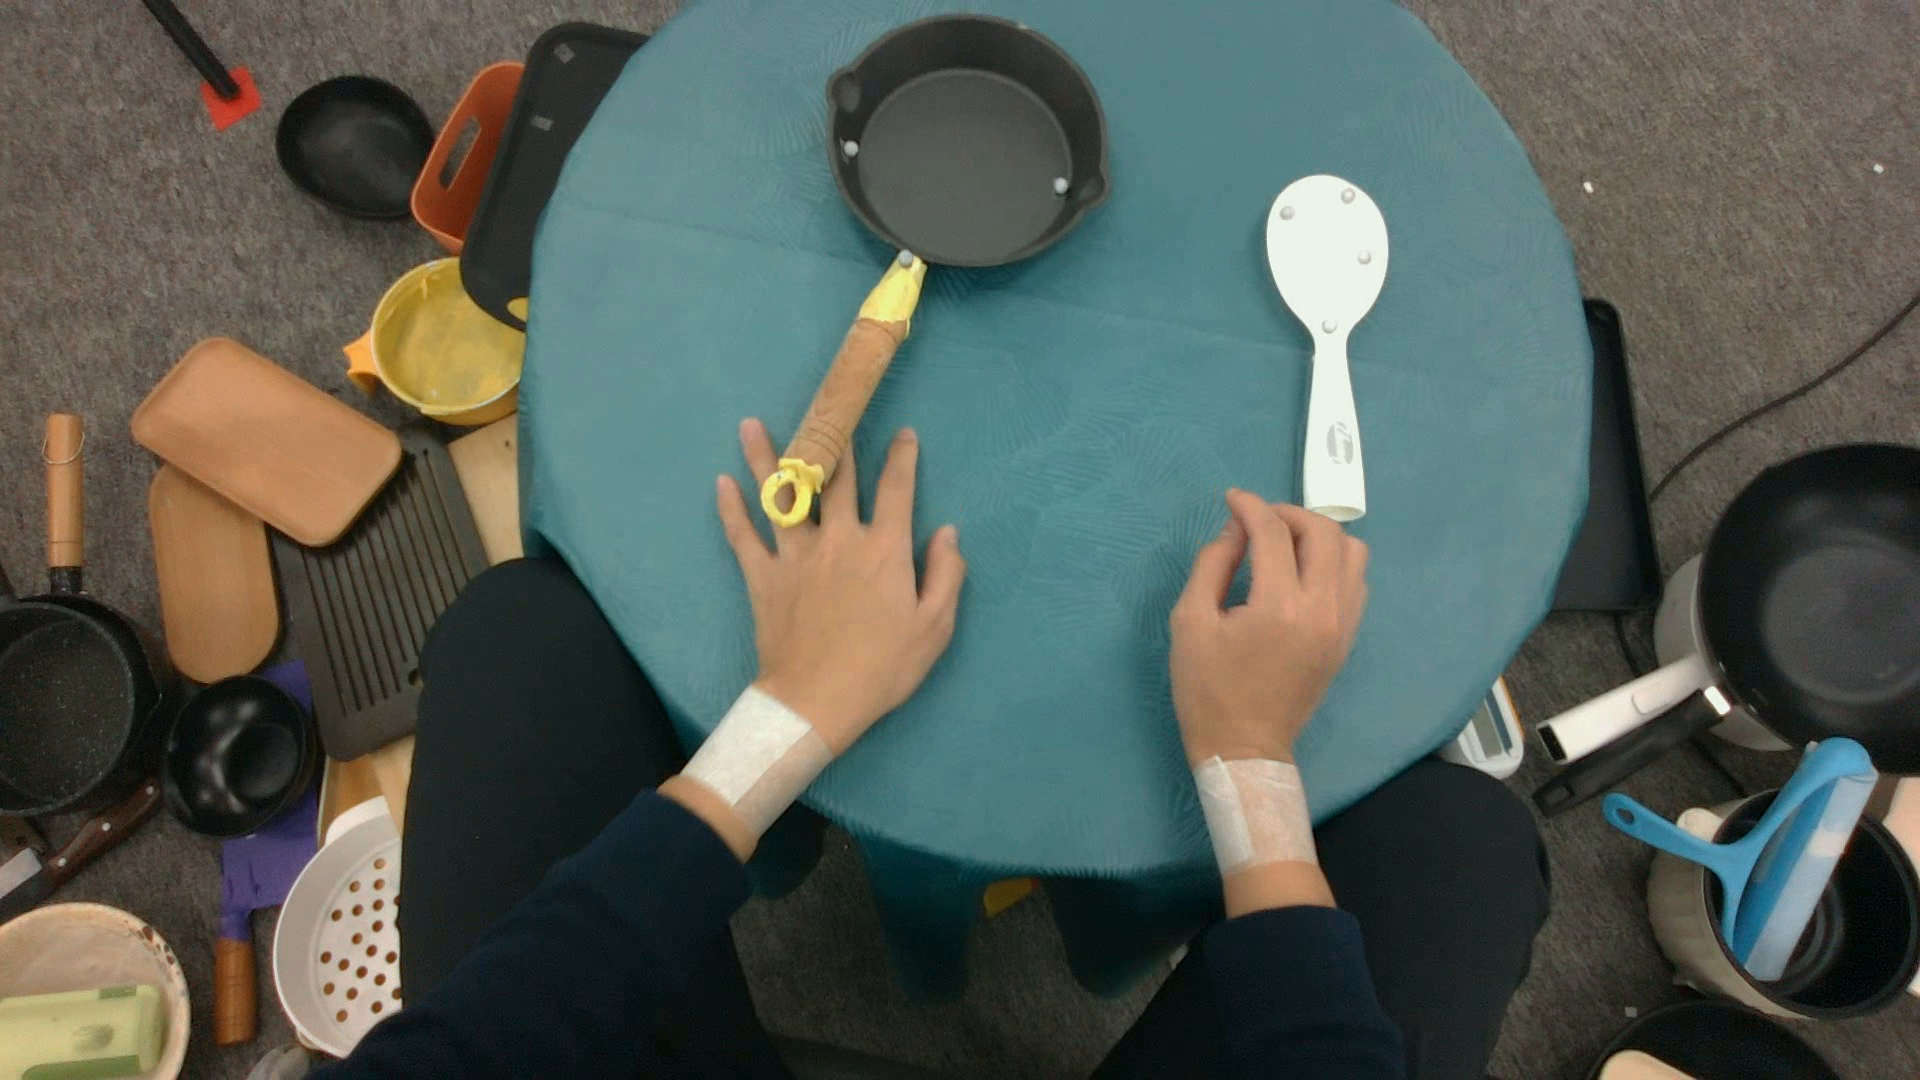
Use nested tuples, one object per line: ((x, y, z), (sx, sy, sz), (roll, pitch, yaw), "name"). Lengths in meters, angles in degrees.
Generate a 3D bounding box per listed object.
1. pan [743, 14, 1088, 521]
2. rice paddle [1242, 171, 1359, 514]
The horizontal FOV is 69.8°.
((-0.042, -0.150, 0.751), (0.169, 0.049, 0.325), (24, 72, 3), "pan")
((0.194, -0.116, 0.767), (0.069, 0.029, 0.206), (2, 74, -5), "rice paddle")
